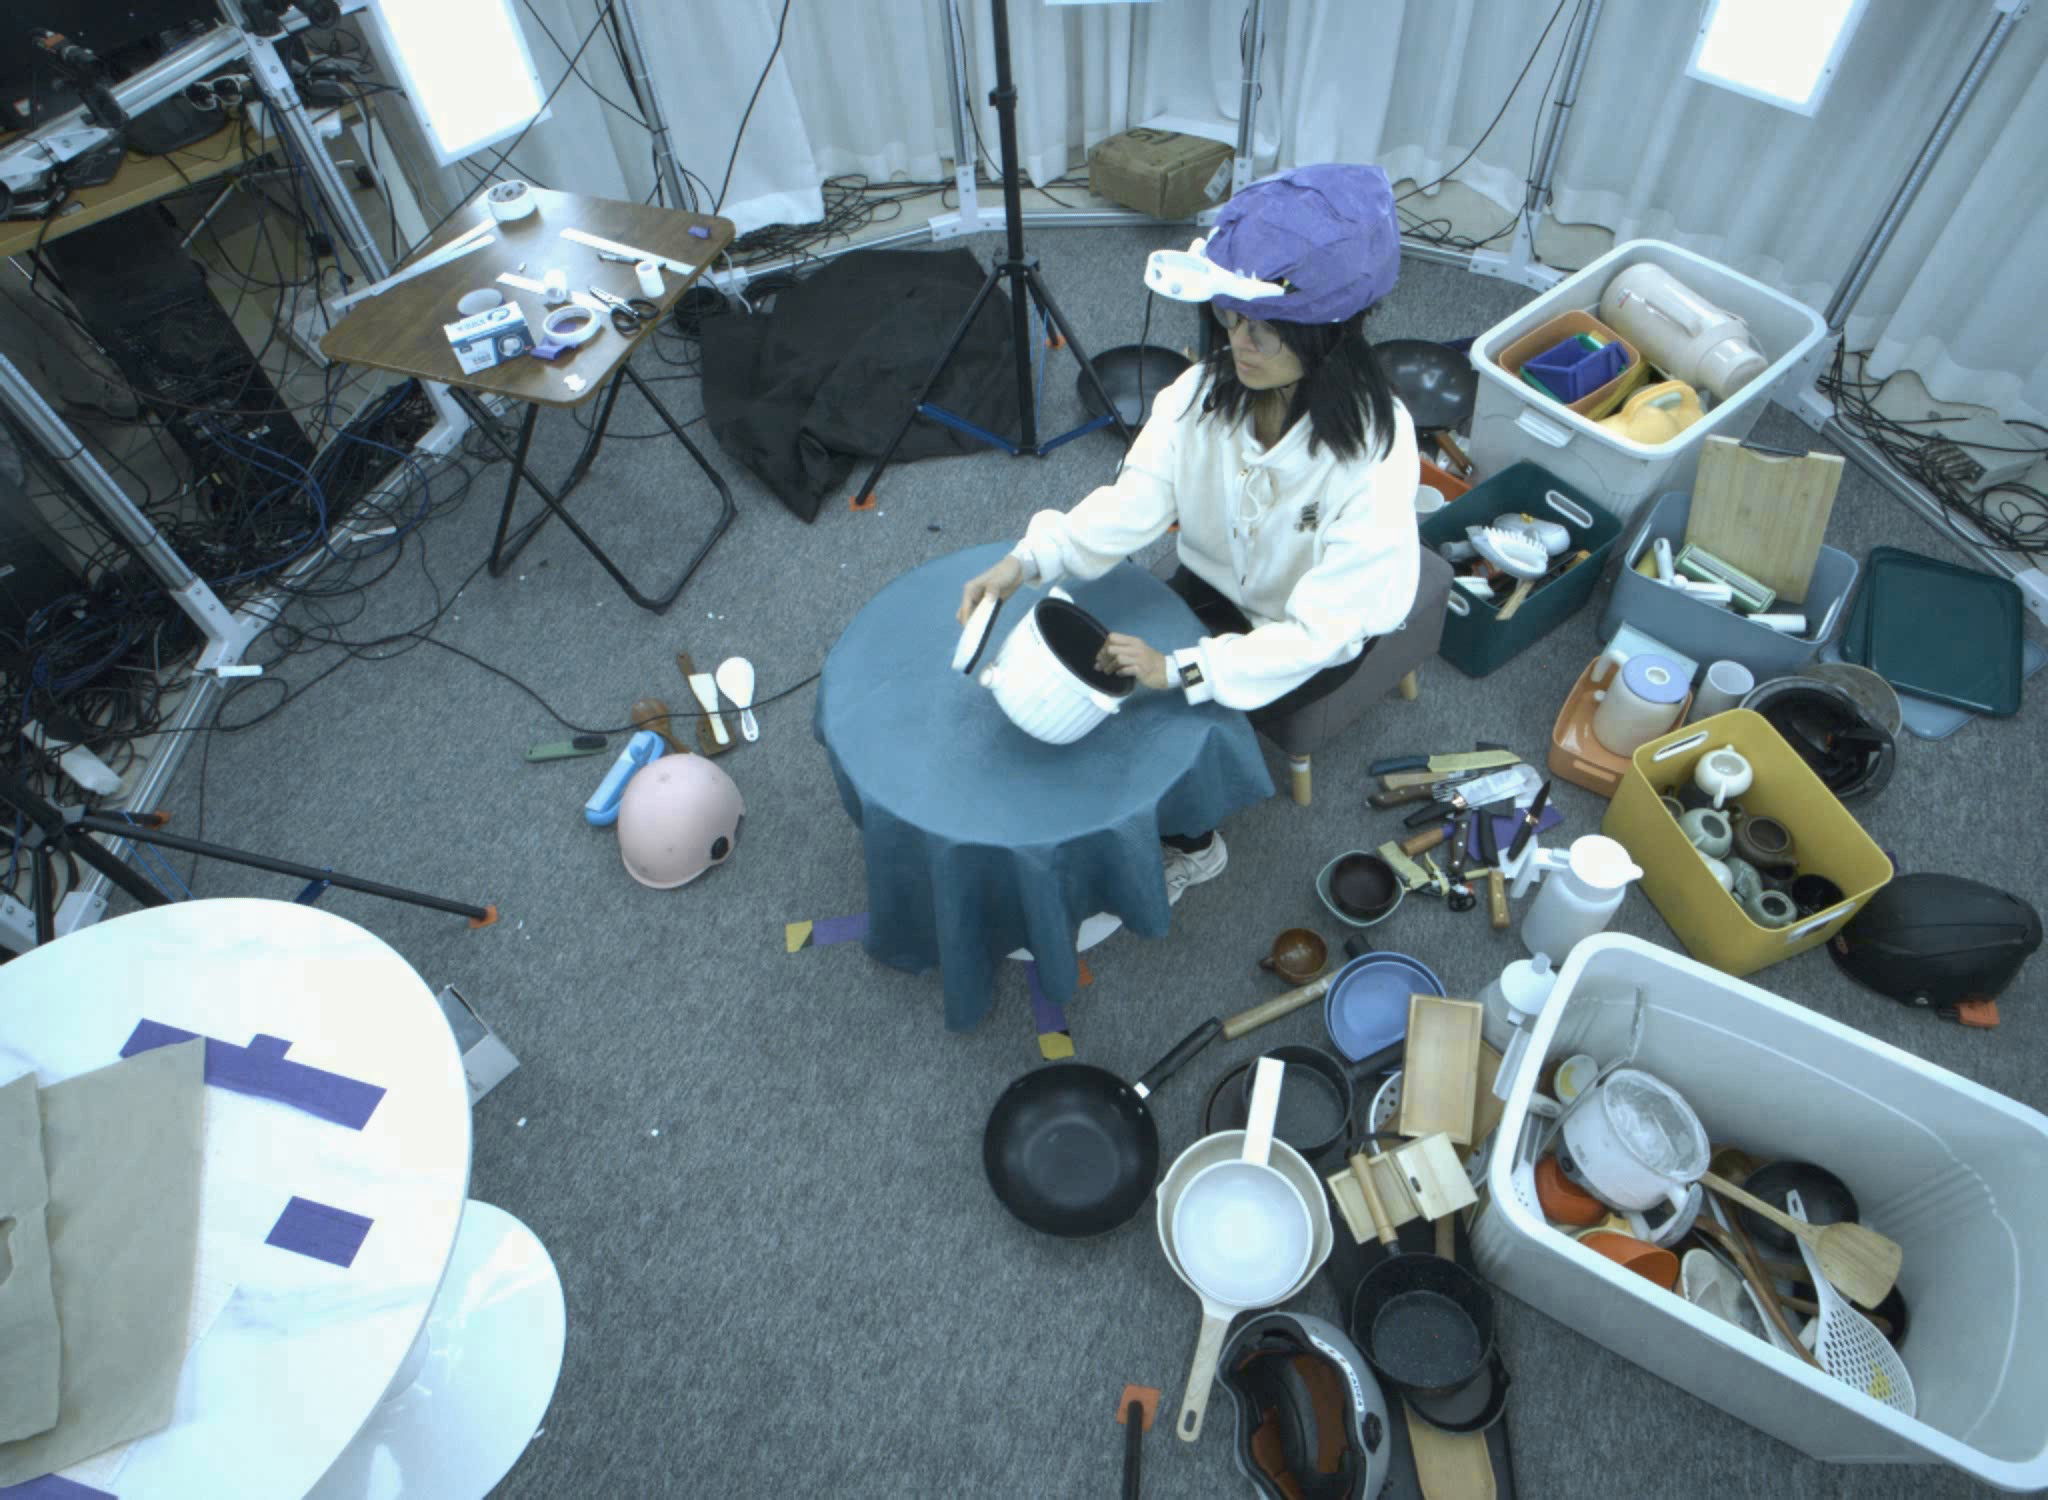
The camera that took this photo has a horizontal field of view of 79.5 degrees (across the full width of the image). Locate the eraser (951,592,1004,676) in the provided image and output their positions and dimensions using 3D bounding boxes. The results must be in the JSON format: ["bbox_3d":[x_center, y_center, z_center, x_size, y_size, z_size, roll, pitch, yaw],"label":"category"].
[{"bbox_3d":[-0.067,-0.164,1.712,0.035,0.063,0.131,28,49,-12],"label":"eraser"}]

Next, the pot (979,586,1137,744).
[{"bbox_3d":[0.042,-0.104,1.725,0.141,0.195,0.236,-42,51,27],"label":"pot"}]
